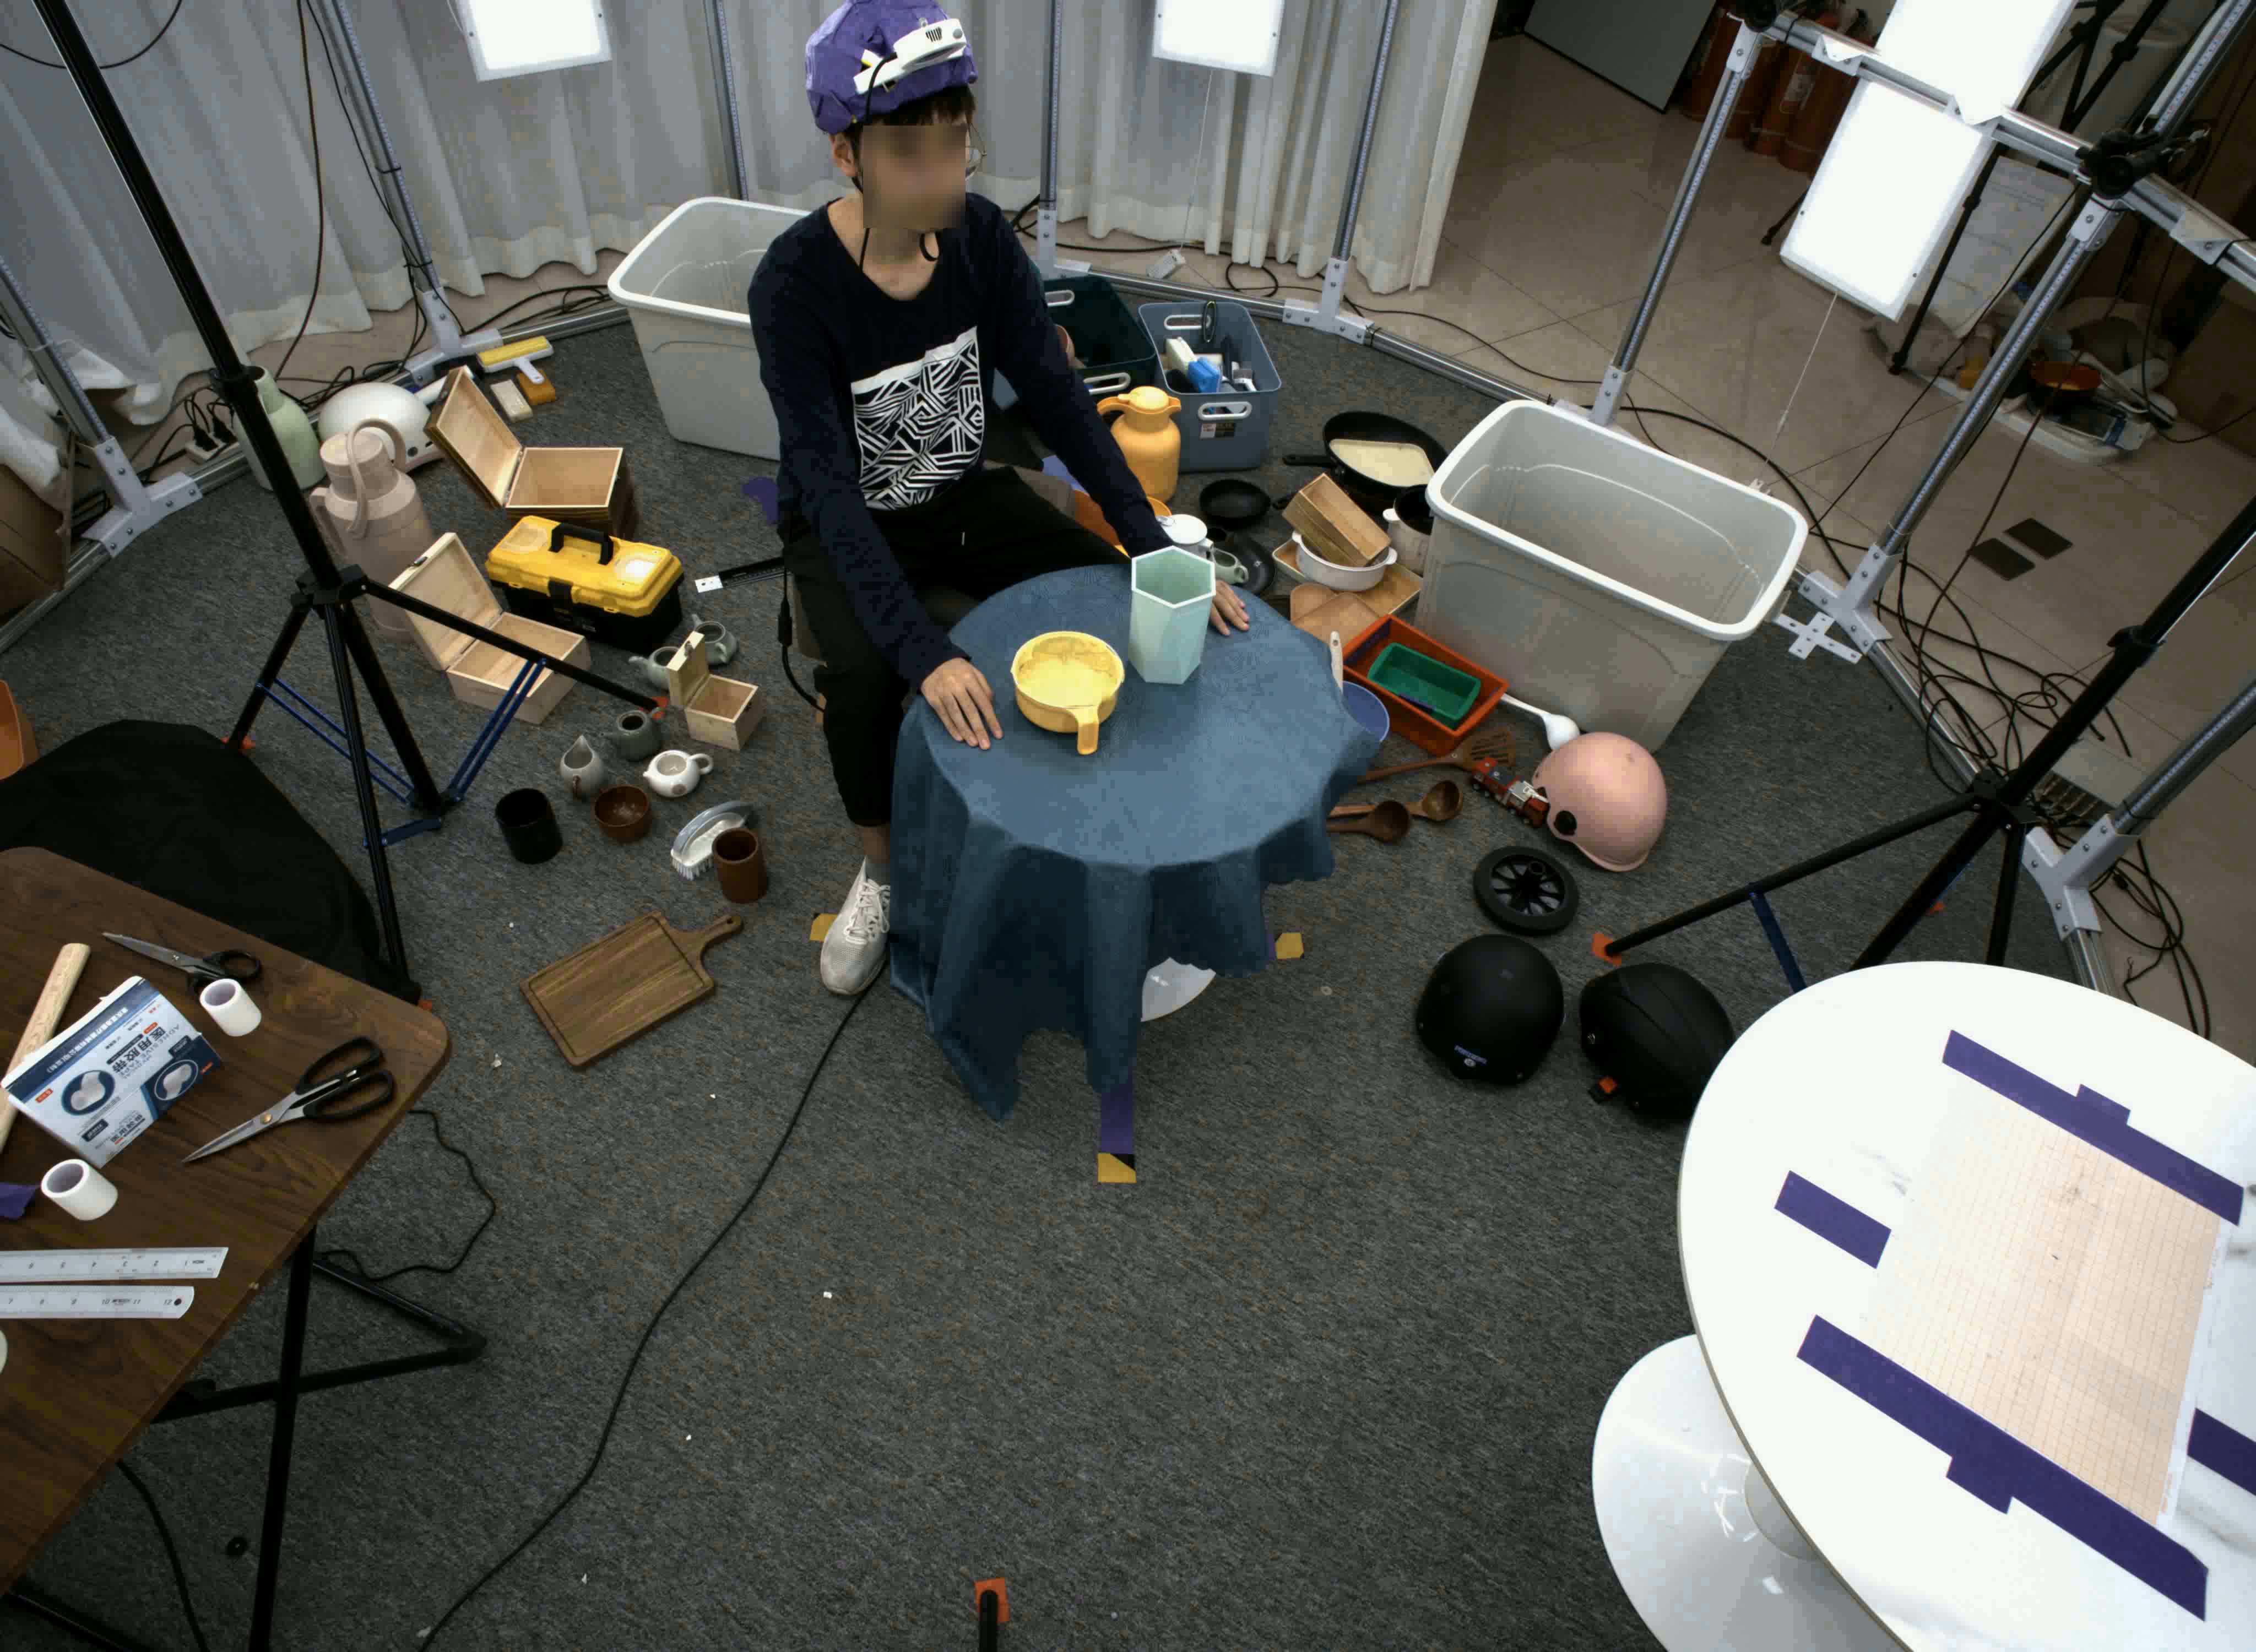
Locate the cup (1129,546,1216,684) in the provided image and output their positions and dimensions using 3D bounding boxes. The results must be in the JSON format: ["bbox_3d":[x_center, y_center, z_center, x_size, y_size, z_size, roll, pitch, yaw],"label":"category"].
[{"bbox_3d":[0.059,-0.293,1.821,0.131,0.159,0.117,-22,52,-22],"label":"cup"}]

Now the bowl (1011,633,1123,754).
[{"bbox_3d":[-0.081,-0.185,1.780,0.153,0.072,0.183,-15,49,-16],"label":"bowl"}]
